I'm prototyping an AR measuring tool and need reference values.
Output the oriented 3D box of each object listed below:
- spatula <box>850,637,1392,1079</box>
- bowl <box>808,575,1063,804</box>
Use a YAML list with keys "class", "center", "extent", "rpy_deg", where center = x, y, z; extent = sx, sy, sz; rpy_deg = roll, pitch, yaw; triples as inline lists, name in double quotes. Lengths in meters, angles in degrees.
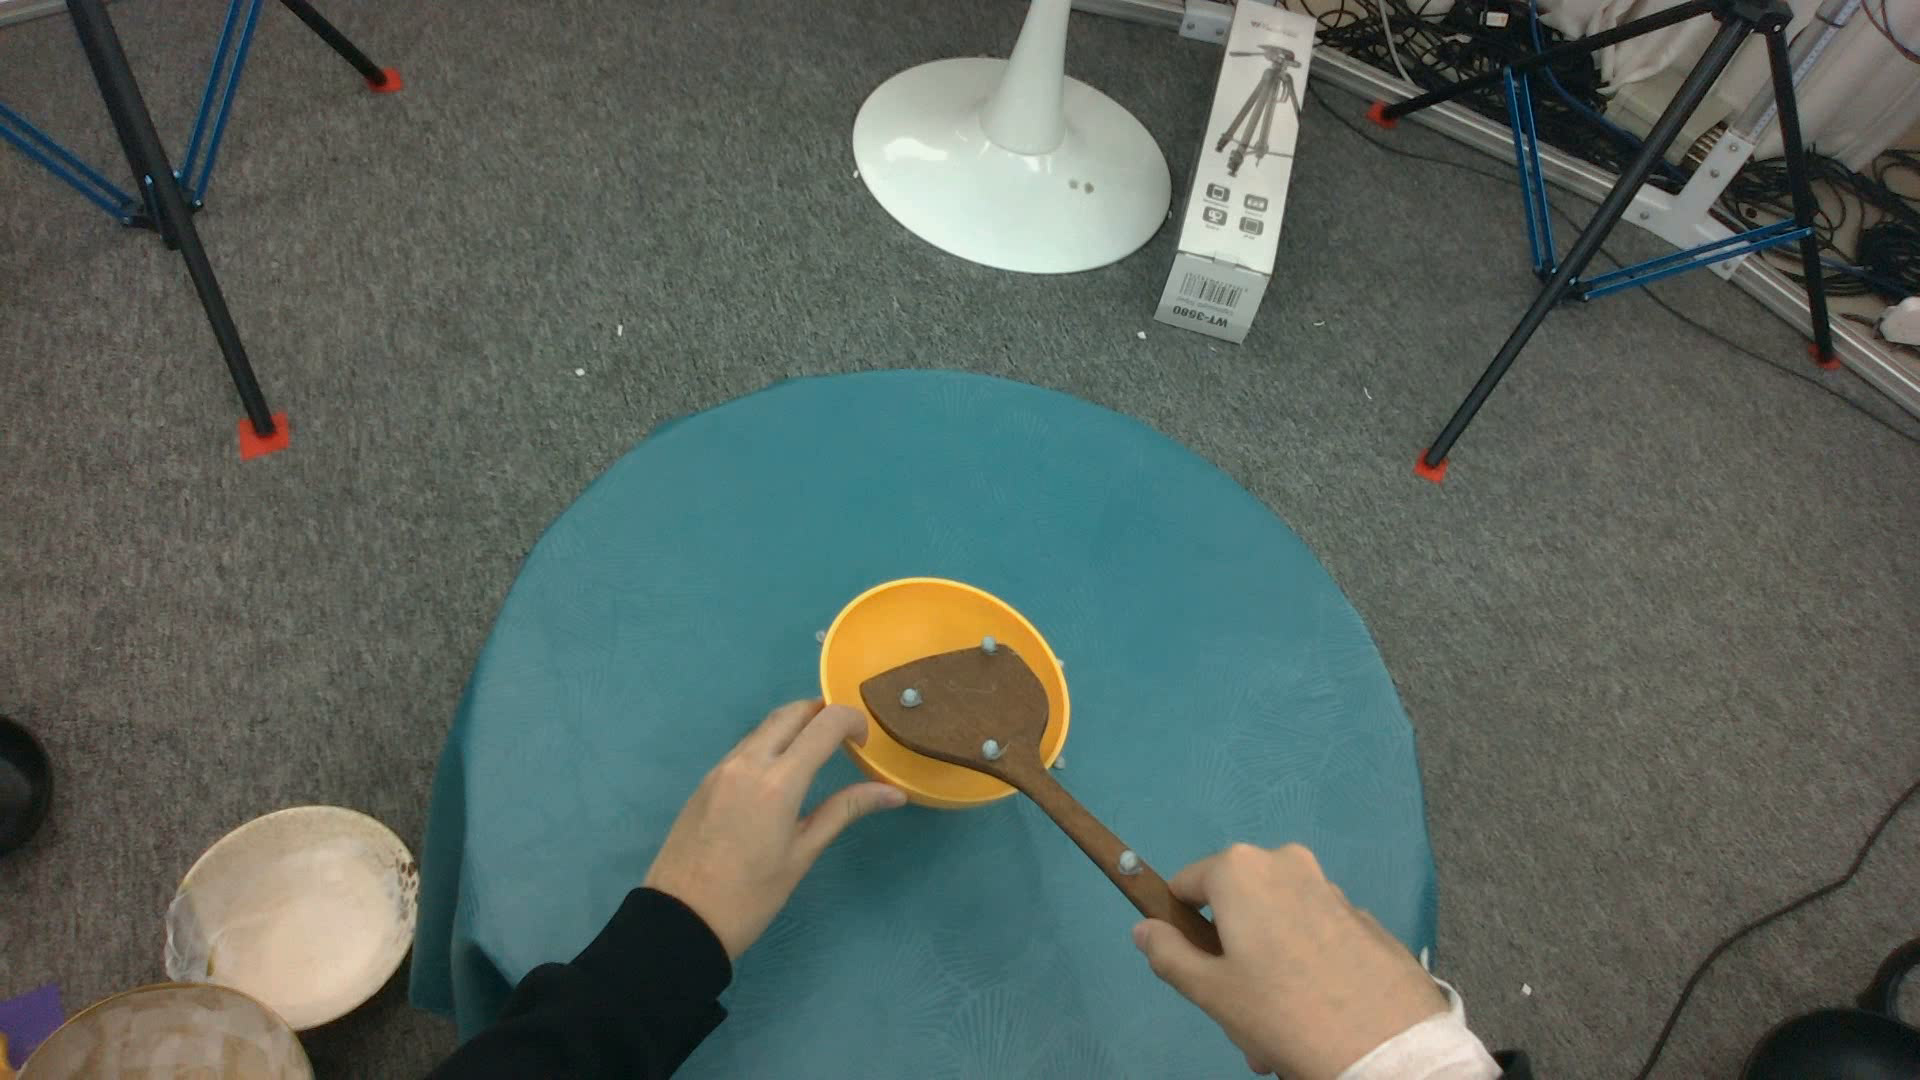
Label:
- class: "spatula"
  center: [0.063, 0.134, 0.610]
  extent: [0.096, 0.016, 0.386]
  rpy_deg: [-13, 27, -24]
- class: "bowl"
  center: [-0.019, 0.094, 0.782]
  extent: [0.145, 0.060, 0.146]
  rpy_deg: [10, 49, -12]
